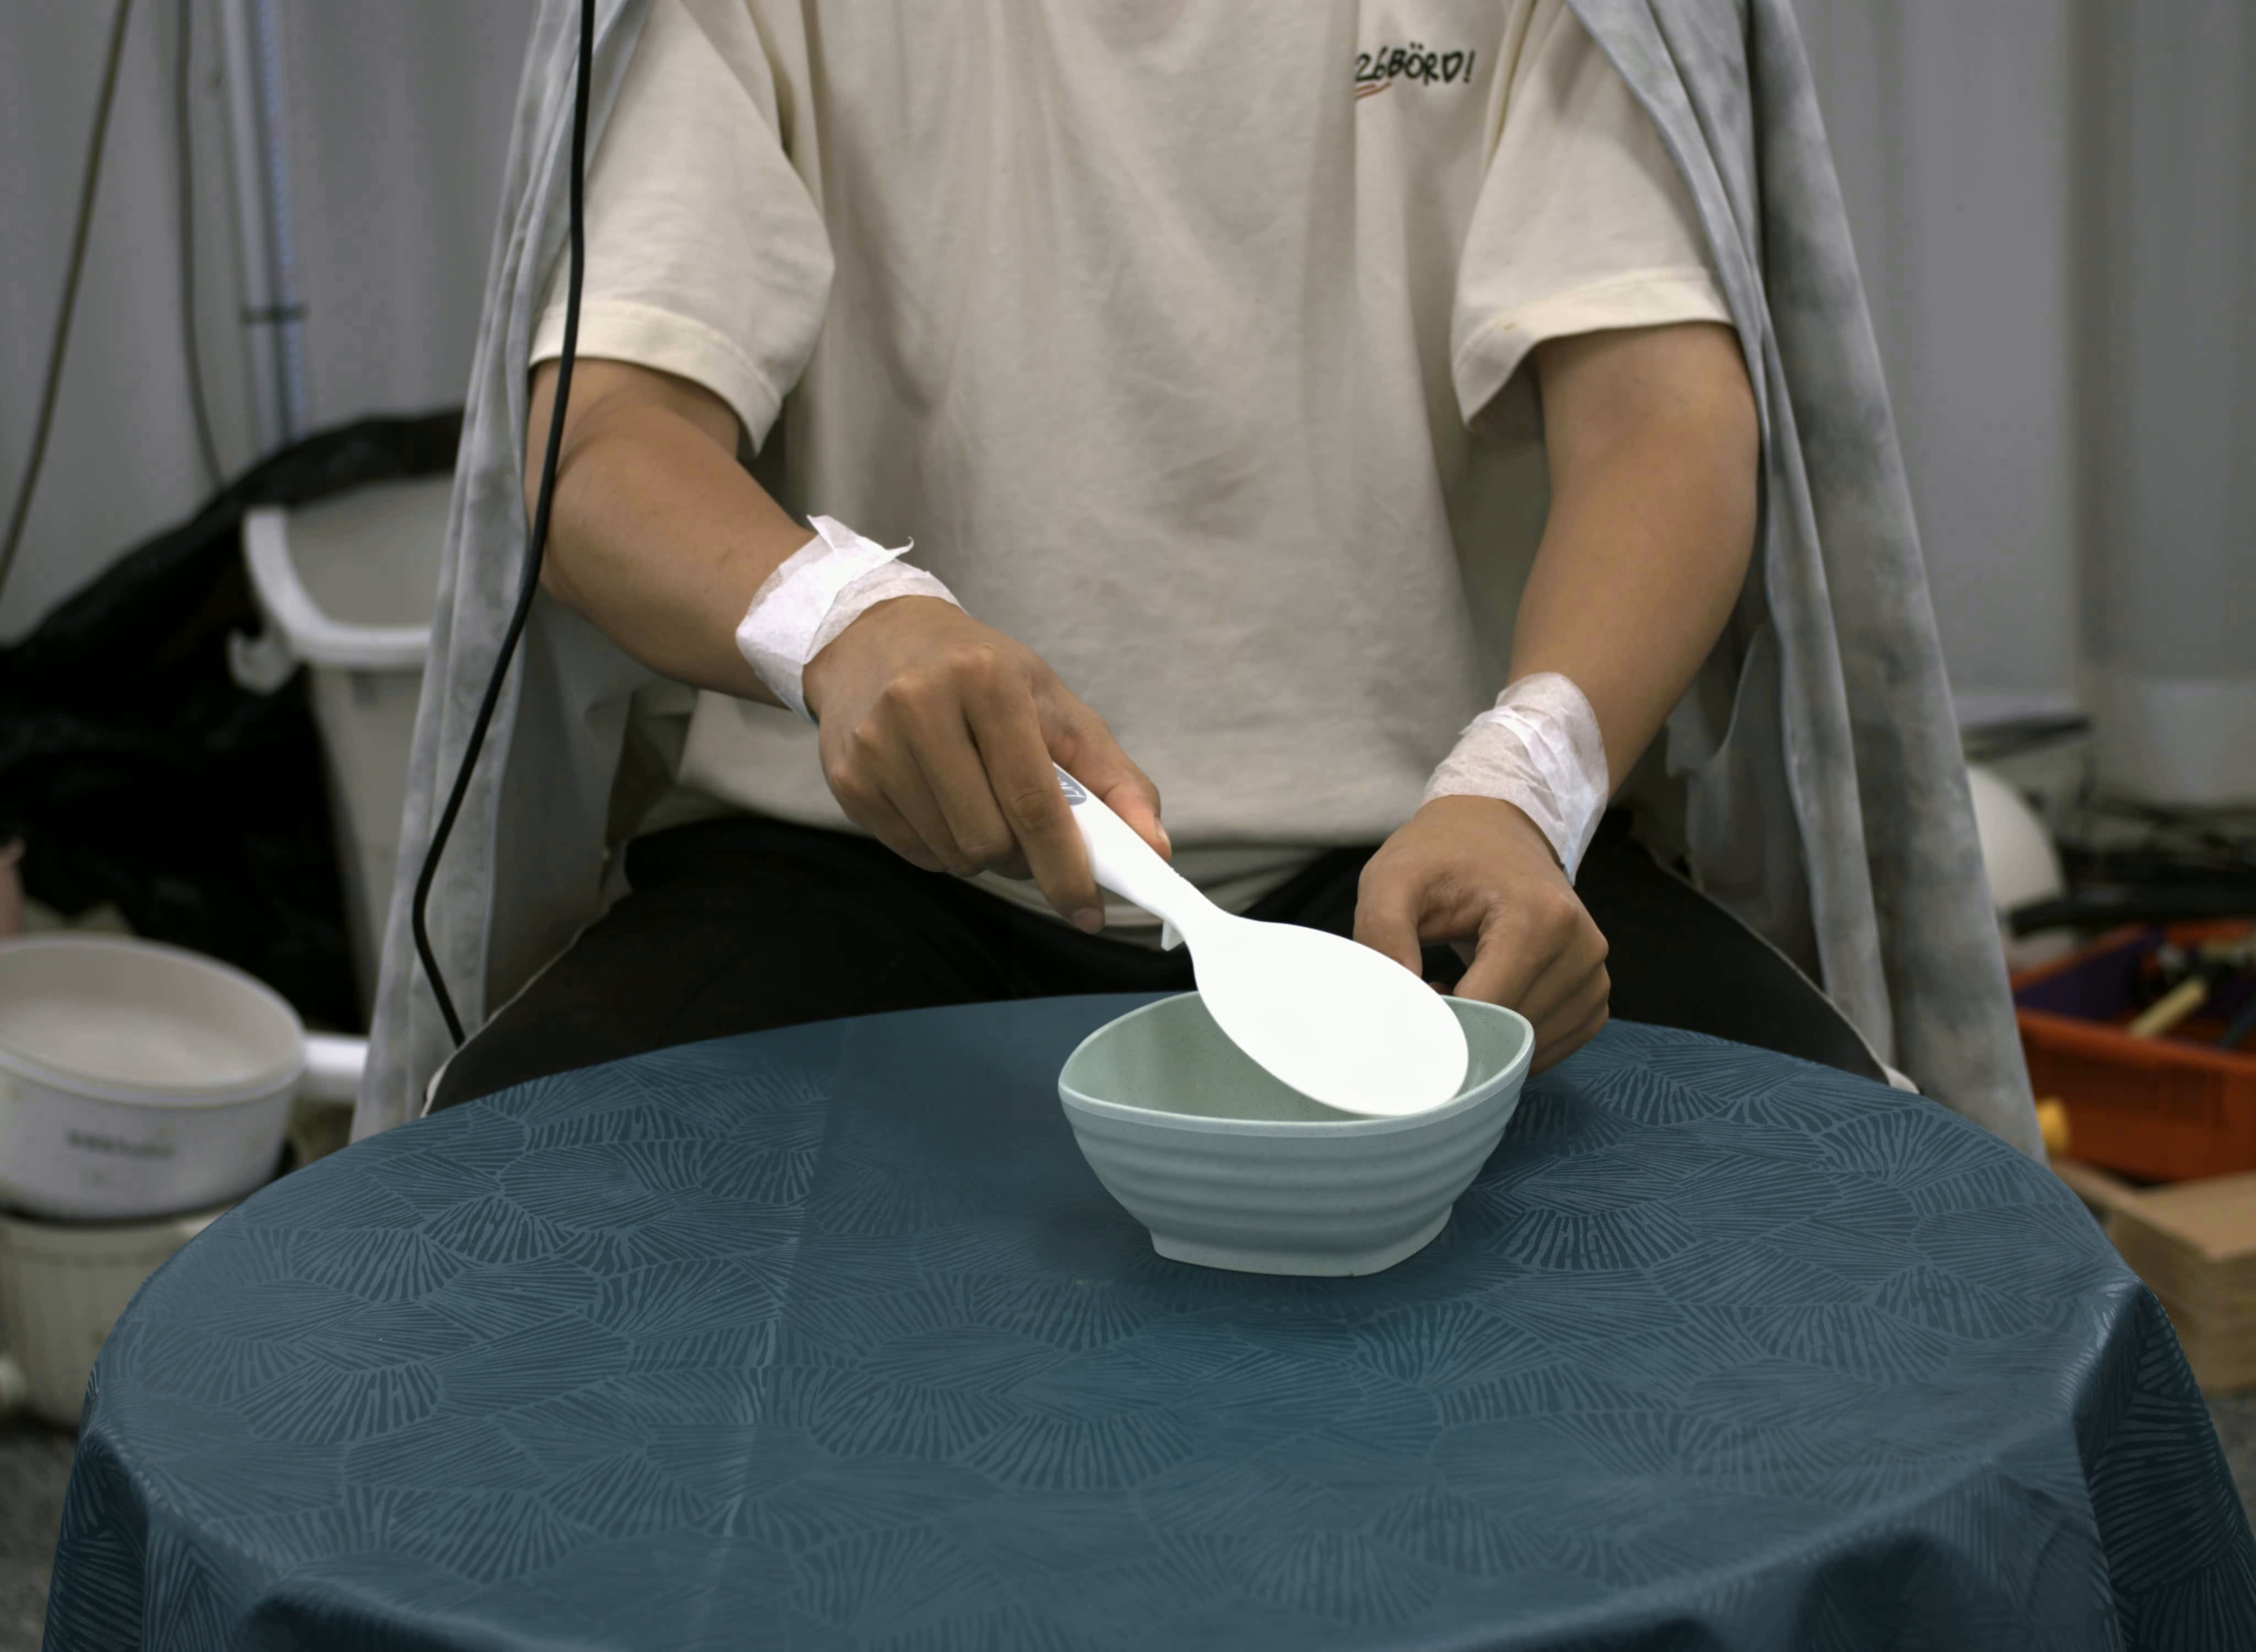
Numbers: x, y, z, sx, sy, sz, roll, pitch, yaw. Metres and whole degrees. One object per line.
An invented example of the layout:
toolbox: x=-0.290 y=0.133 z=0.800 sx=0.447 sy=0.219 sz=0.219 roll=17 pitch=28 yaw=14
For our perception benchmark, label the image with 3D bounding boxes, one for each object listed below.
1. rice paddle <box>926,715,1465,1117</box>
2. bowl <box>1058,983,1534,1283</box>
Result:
rice paddle: x=0.021 y=0.029 z=1.703 sx=0.207 sy=0.029 sz=0.069 roll=35 pitch=47 yaw=27
bowl: x=0.053 y=0.096 z=1.669 sx=0.151 sy=0.058 sz=0.152 roll=-4 pitch=17 yaw=1
